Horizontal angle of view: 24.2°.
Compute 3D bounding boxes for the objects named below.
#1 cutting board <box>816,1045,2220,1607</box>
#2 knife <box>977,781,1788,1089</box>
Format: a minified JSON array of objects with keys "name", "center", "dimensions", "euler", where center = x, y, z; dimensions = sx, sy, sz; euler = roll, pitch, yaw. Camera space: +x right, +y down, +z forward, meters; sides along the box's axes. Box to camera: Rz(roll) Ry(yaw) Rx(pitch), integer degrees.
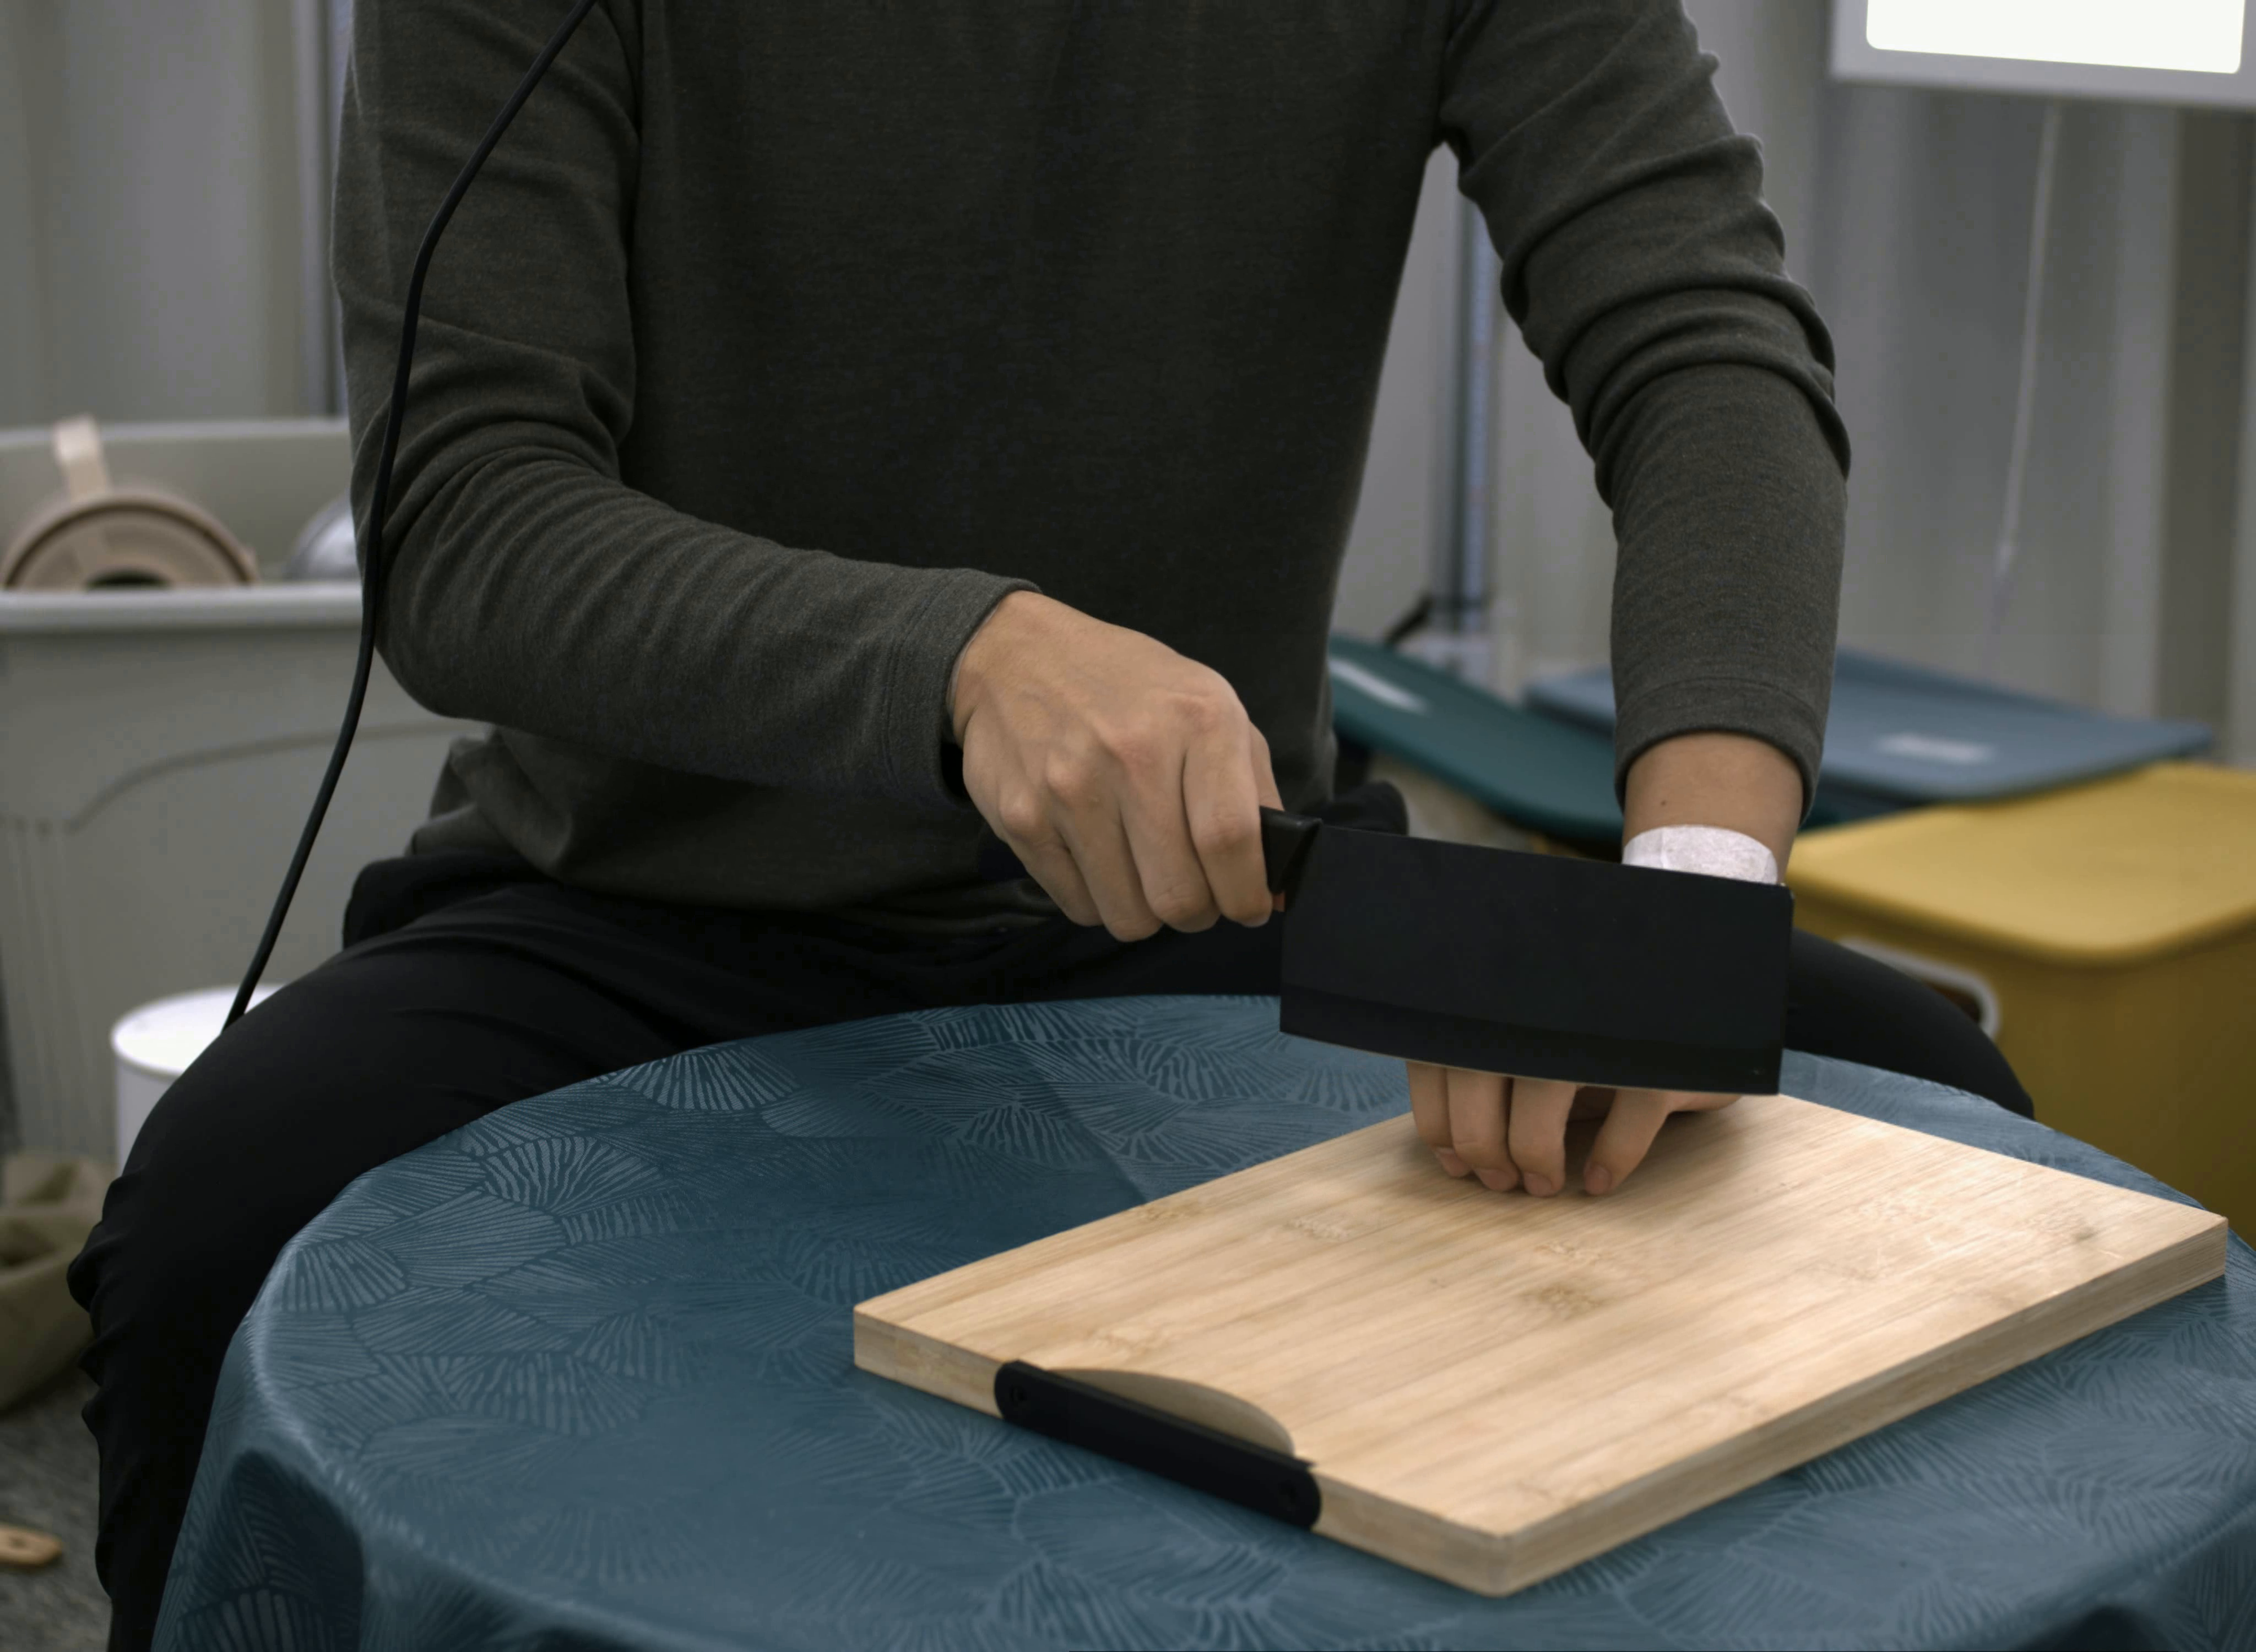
[{"name":"cutting board","center":[0.119,0.135,1.517],"dimensions":[0.247,0.024,0.350],"euler":[14,20,41]},{"name":"knife","center":[0.071,0.028,1.568],"dimensions":[0.298,0.081,0.021],"euler":[13,11,38]}]
